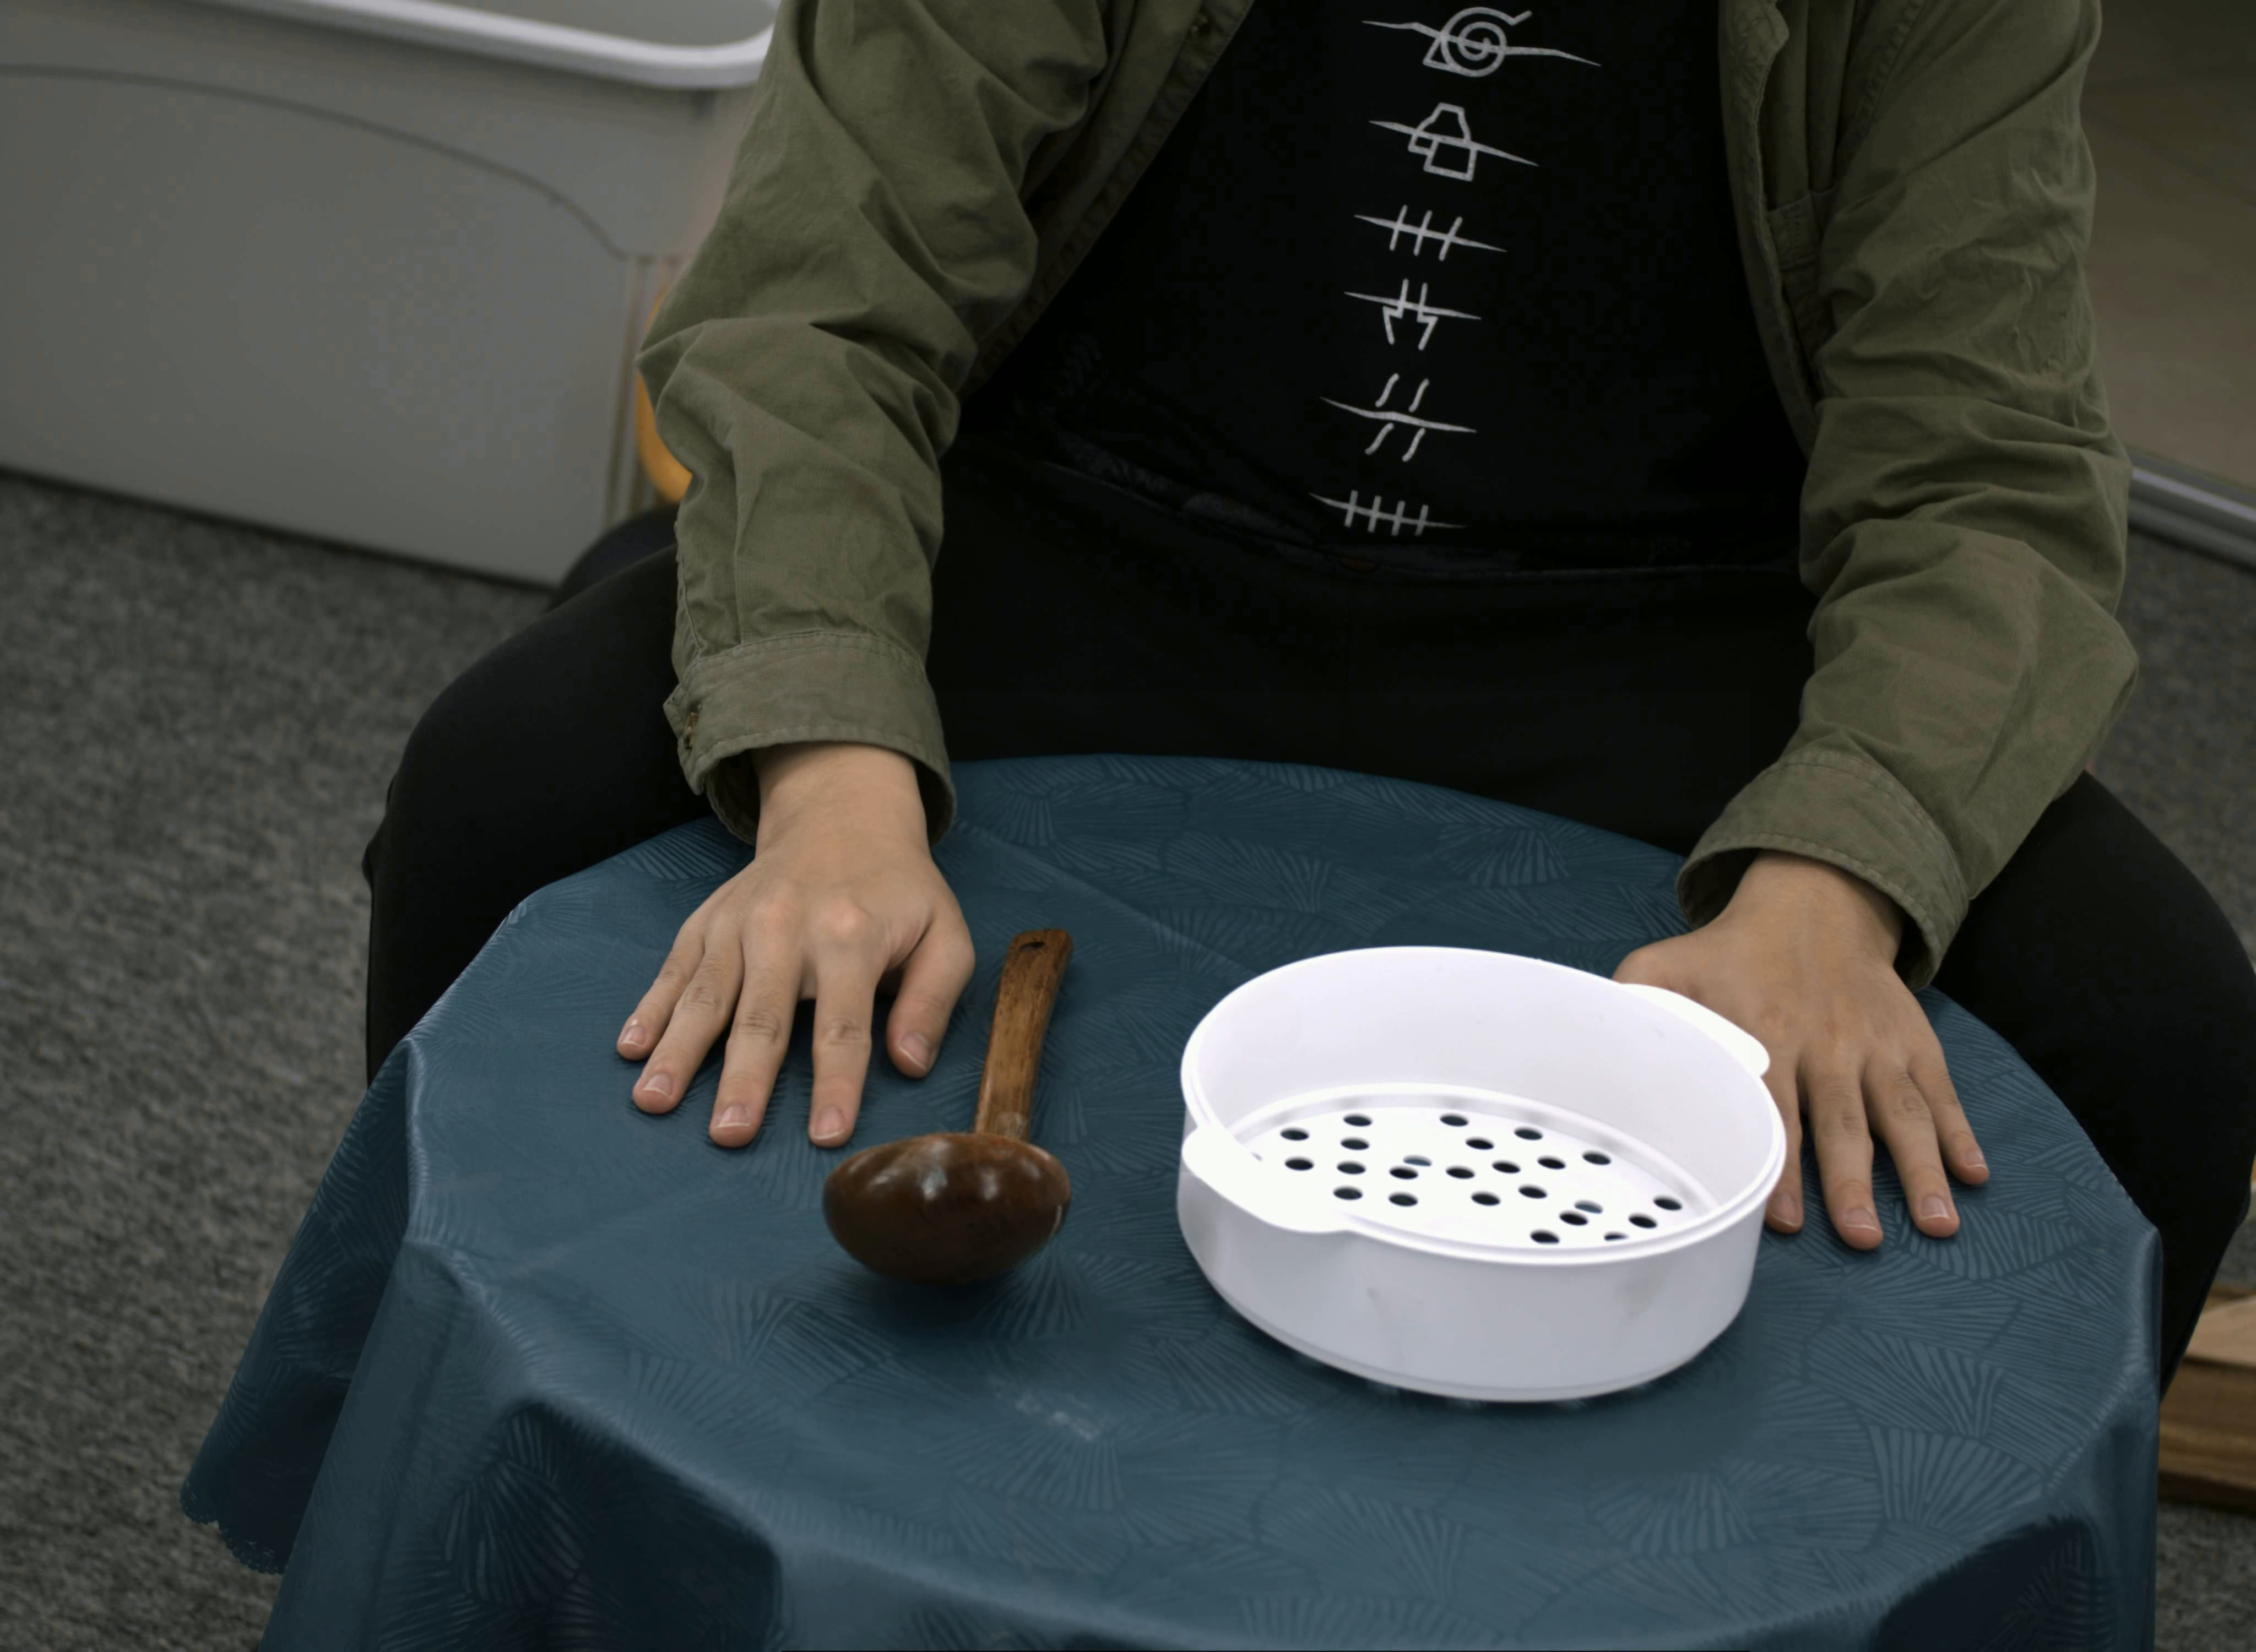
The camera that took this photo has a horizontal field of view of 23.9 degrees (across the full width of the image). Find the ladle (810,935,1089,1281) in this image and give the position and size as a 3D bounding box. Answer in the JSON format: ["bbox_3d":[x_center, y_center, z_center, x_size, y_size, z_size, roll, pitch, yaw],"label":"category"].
[{"bbox_3d":[-0.050,0.075,1.803,0.082,0.076,0.275,-5,25,10],"label":"ladle"}]

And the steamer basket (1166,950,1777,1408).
[{"bbox_3d":[0.110,0.117,1.761,0.229,0.069,0.203,-15,34,-38],"label":"steamer basket"}]
